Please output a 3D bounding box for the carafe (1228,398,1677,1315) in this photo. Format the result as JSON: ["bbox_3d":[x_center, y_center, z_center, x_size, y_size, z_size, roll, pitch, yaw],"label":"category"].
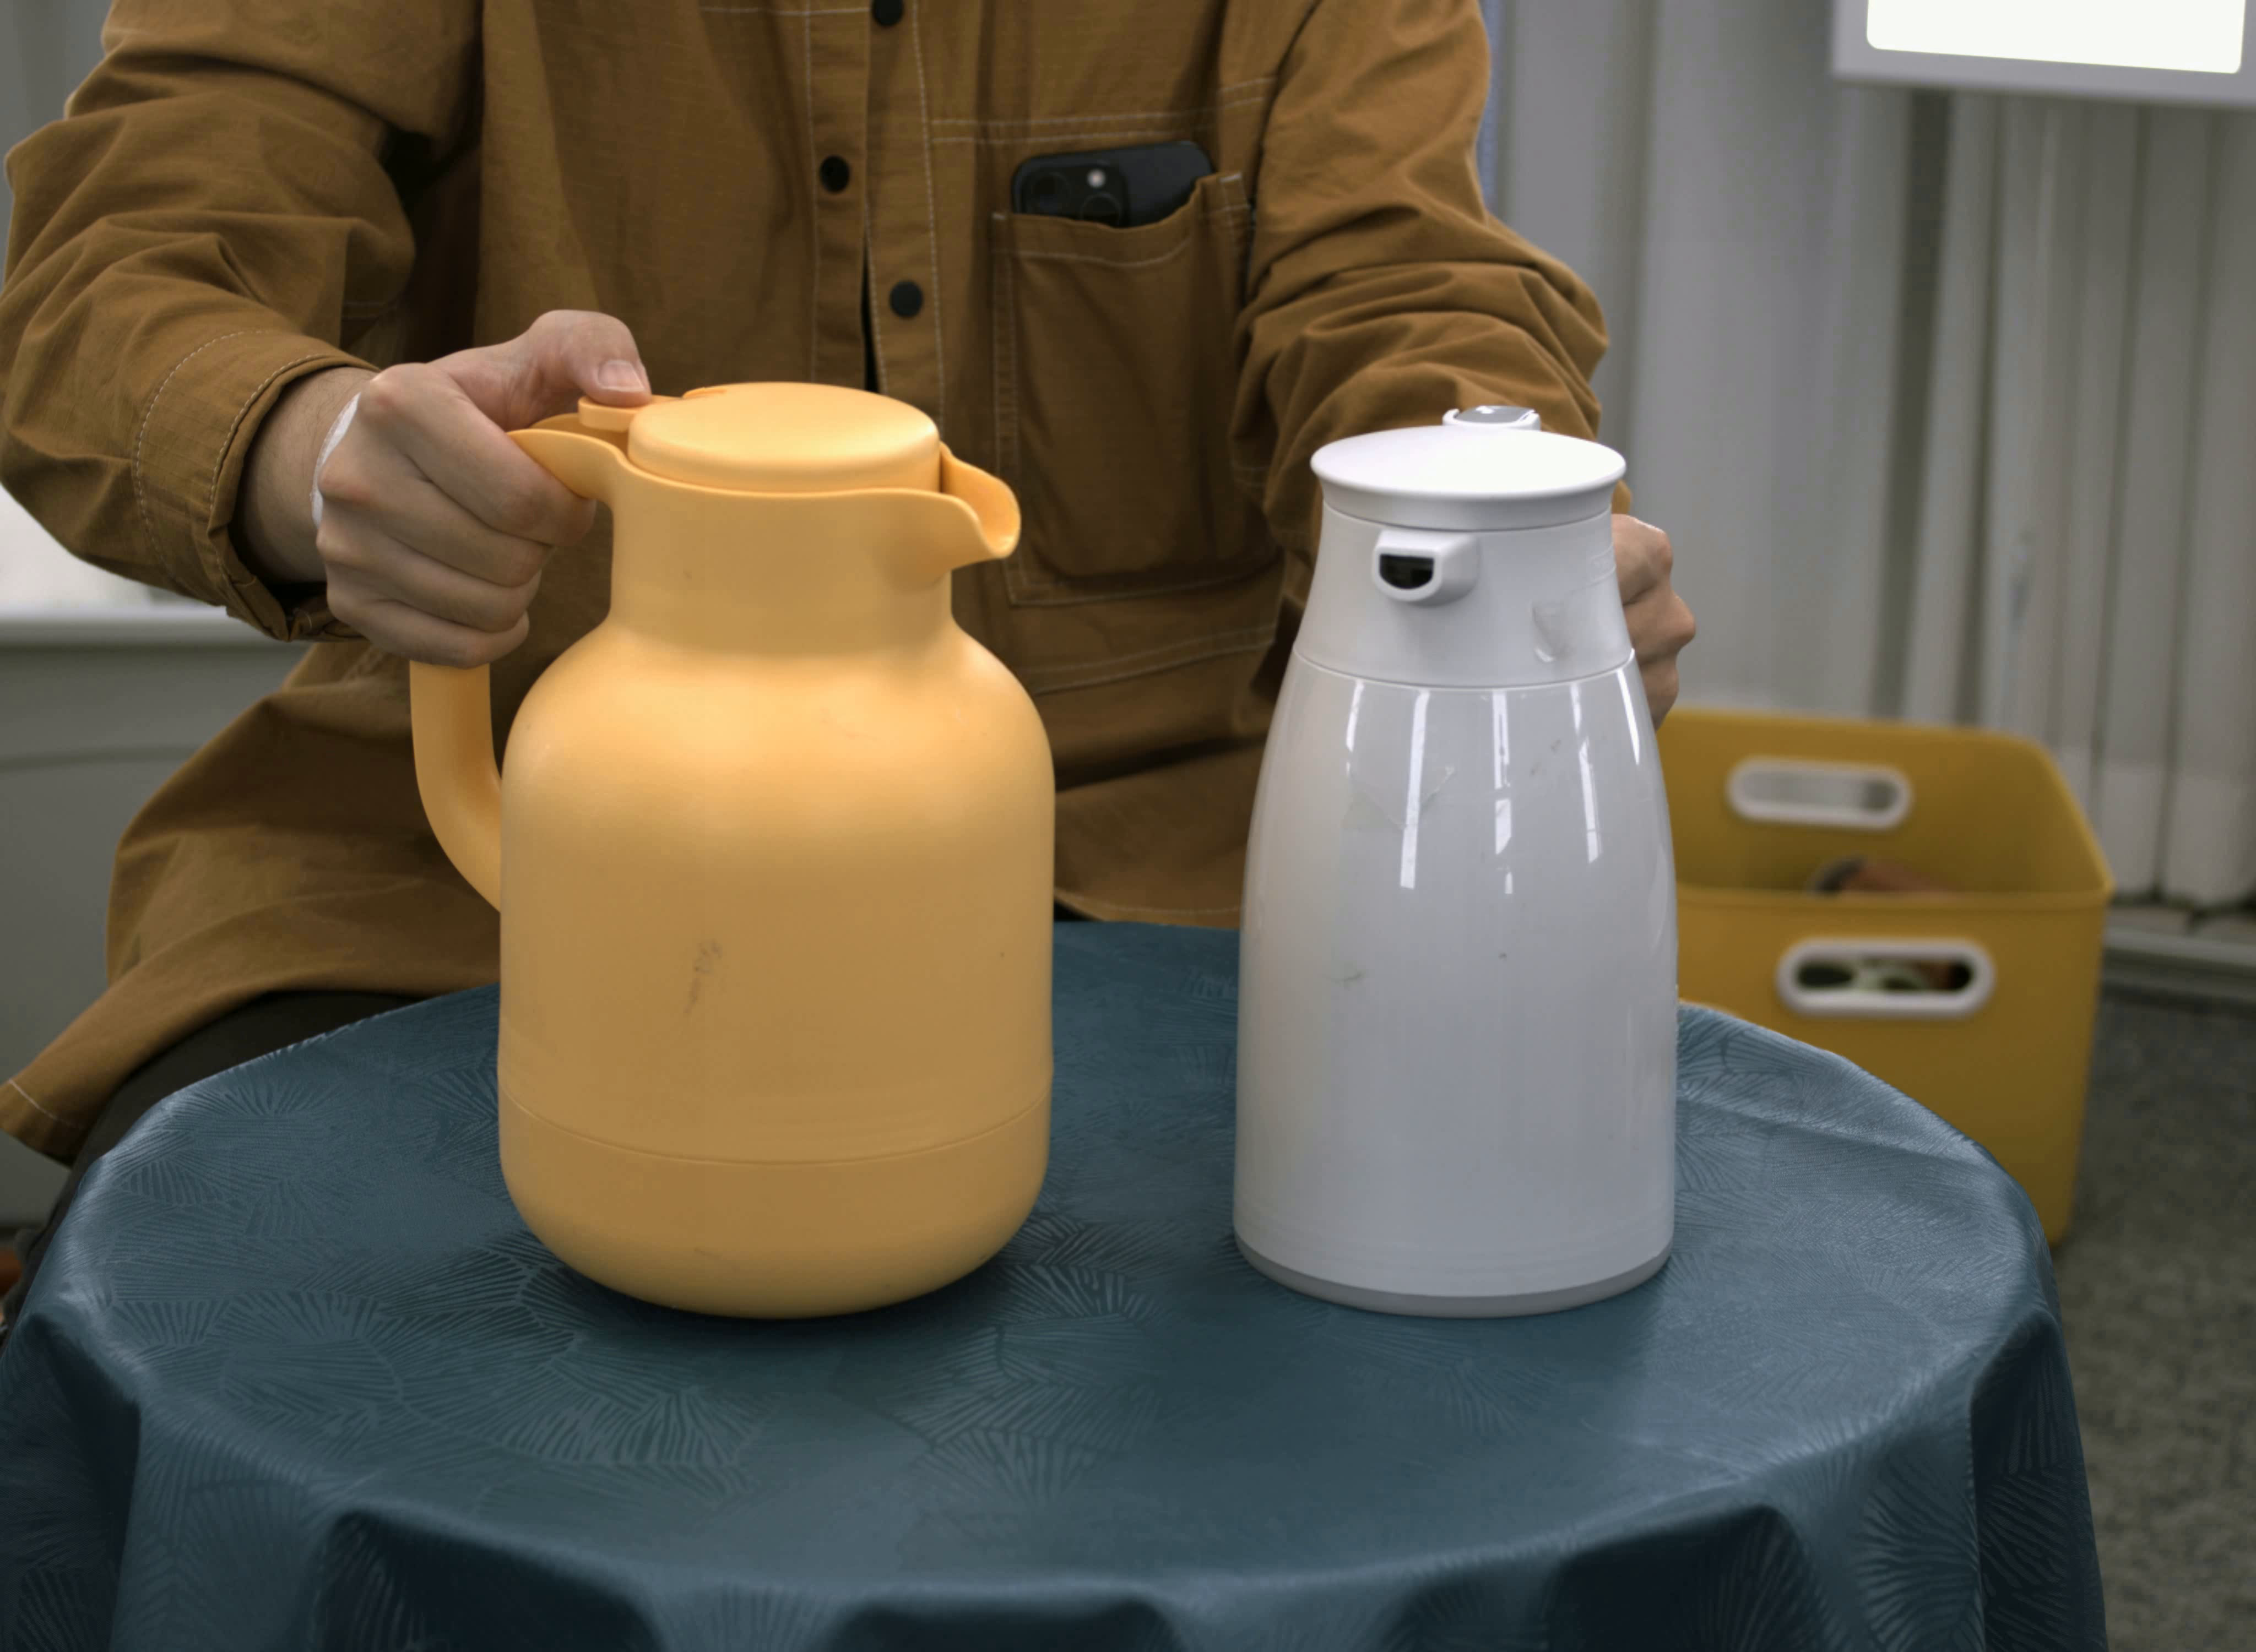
[{"bbox_3d":[0.102,0.000,1.564,0.131,0.250,0.168,5,16,17],"label":"carafe"}]

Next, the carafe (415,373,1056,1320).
[{"bbox_3d":[-0.117,-0.002,1.529,0.200,0.262,0.164,14,20,27],"label":"carafe"}]
